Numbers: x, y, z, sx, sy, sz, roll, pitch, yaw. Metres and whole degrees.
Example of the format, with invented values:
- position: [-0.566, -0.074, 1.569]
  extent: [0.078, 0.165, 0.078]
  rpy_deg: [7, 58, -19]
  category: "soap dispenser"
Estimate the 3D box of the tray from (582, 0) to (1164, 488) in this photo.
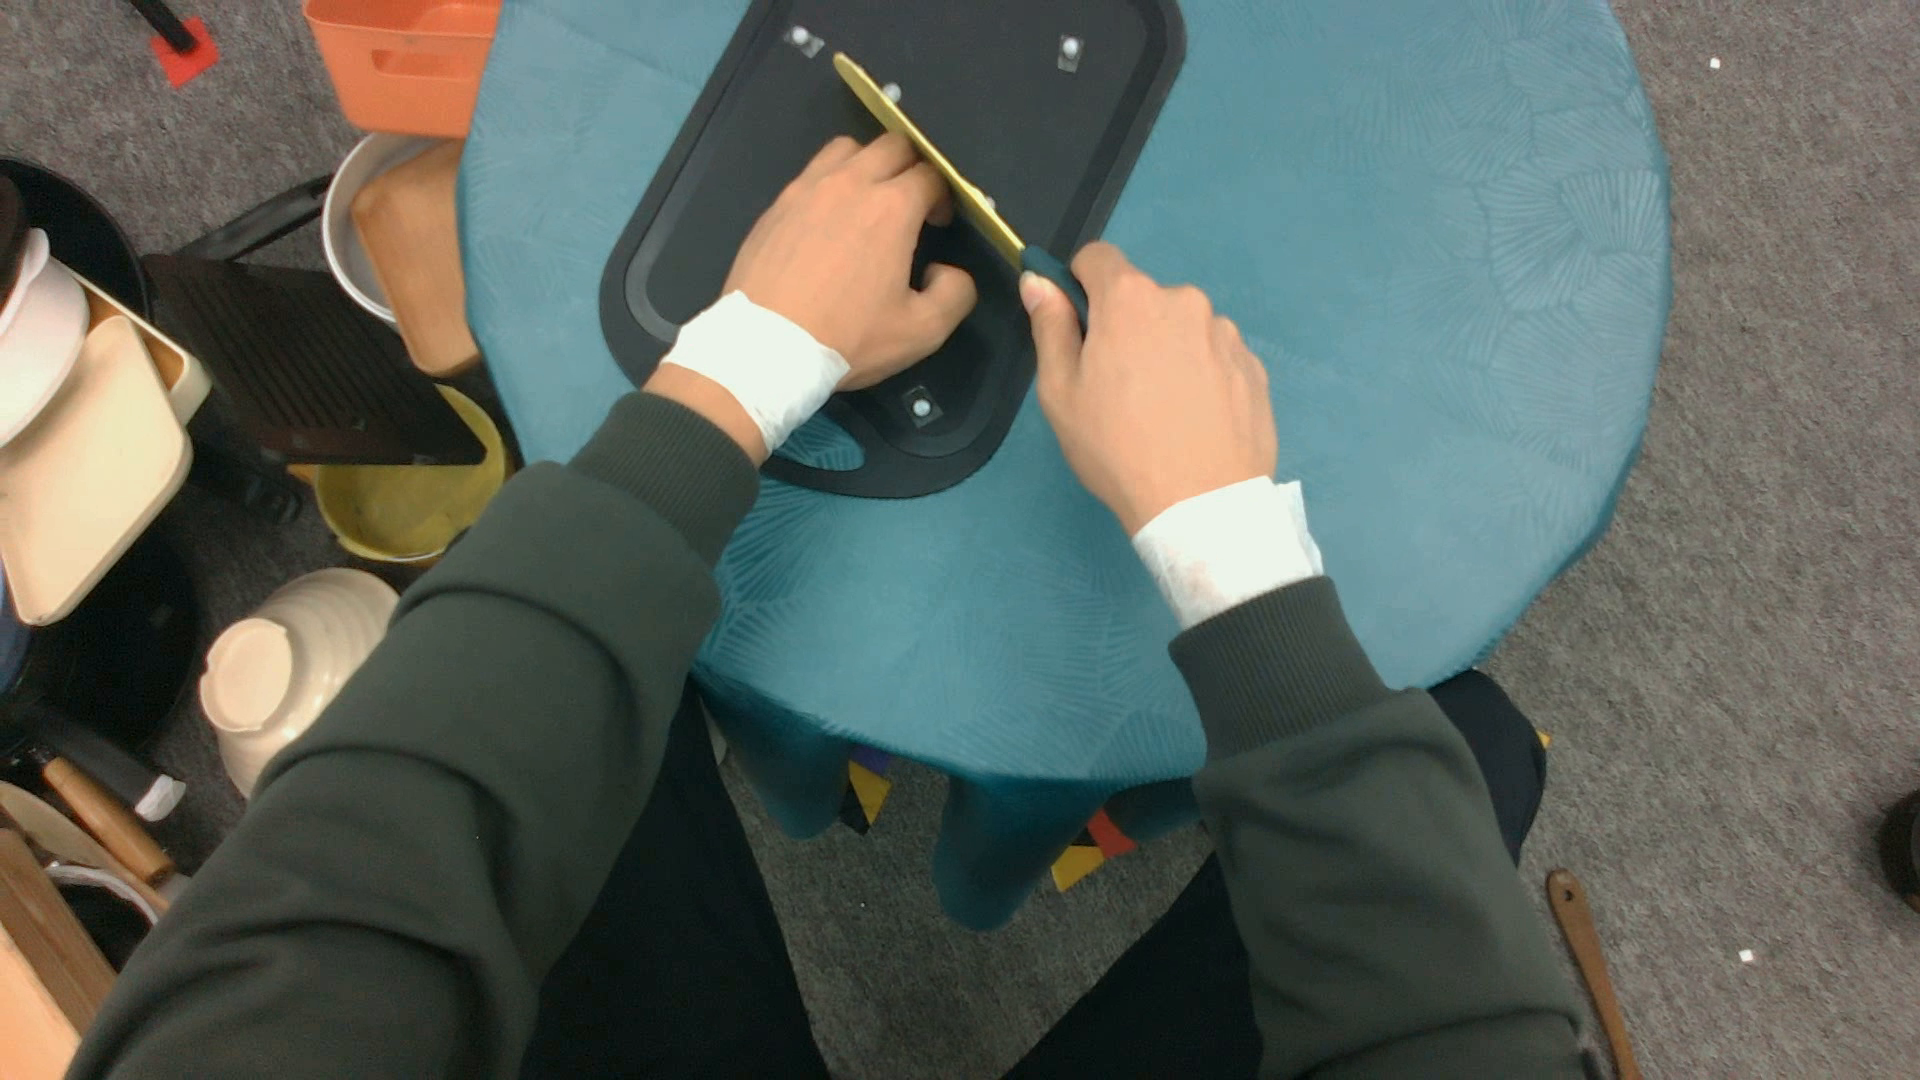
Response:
- position: [-0.041, -0.183, 0.680]
  extent: [0.211, 0.010, 0.326]
  rpy_deg: [24, 76, 3]
  category: "tray"

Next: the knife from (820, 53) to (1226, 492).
- position: [0.021, -0.128, 0.622]
  extent: [0.027, 0.081, 0.290]
  rpy_deg: [-42, 71, 8]
  category: "knife"
